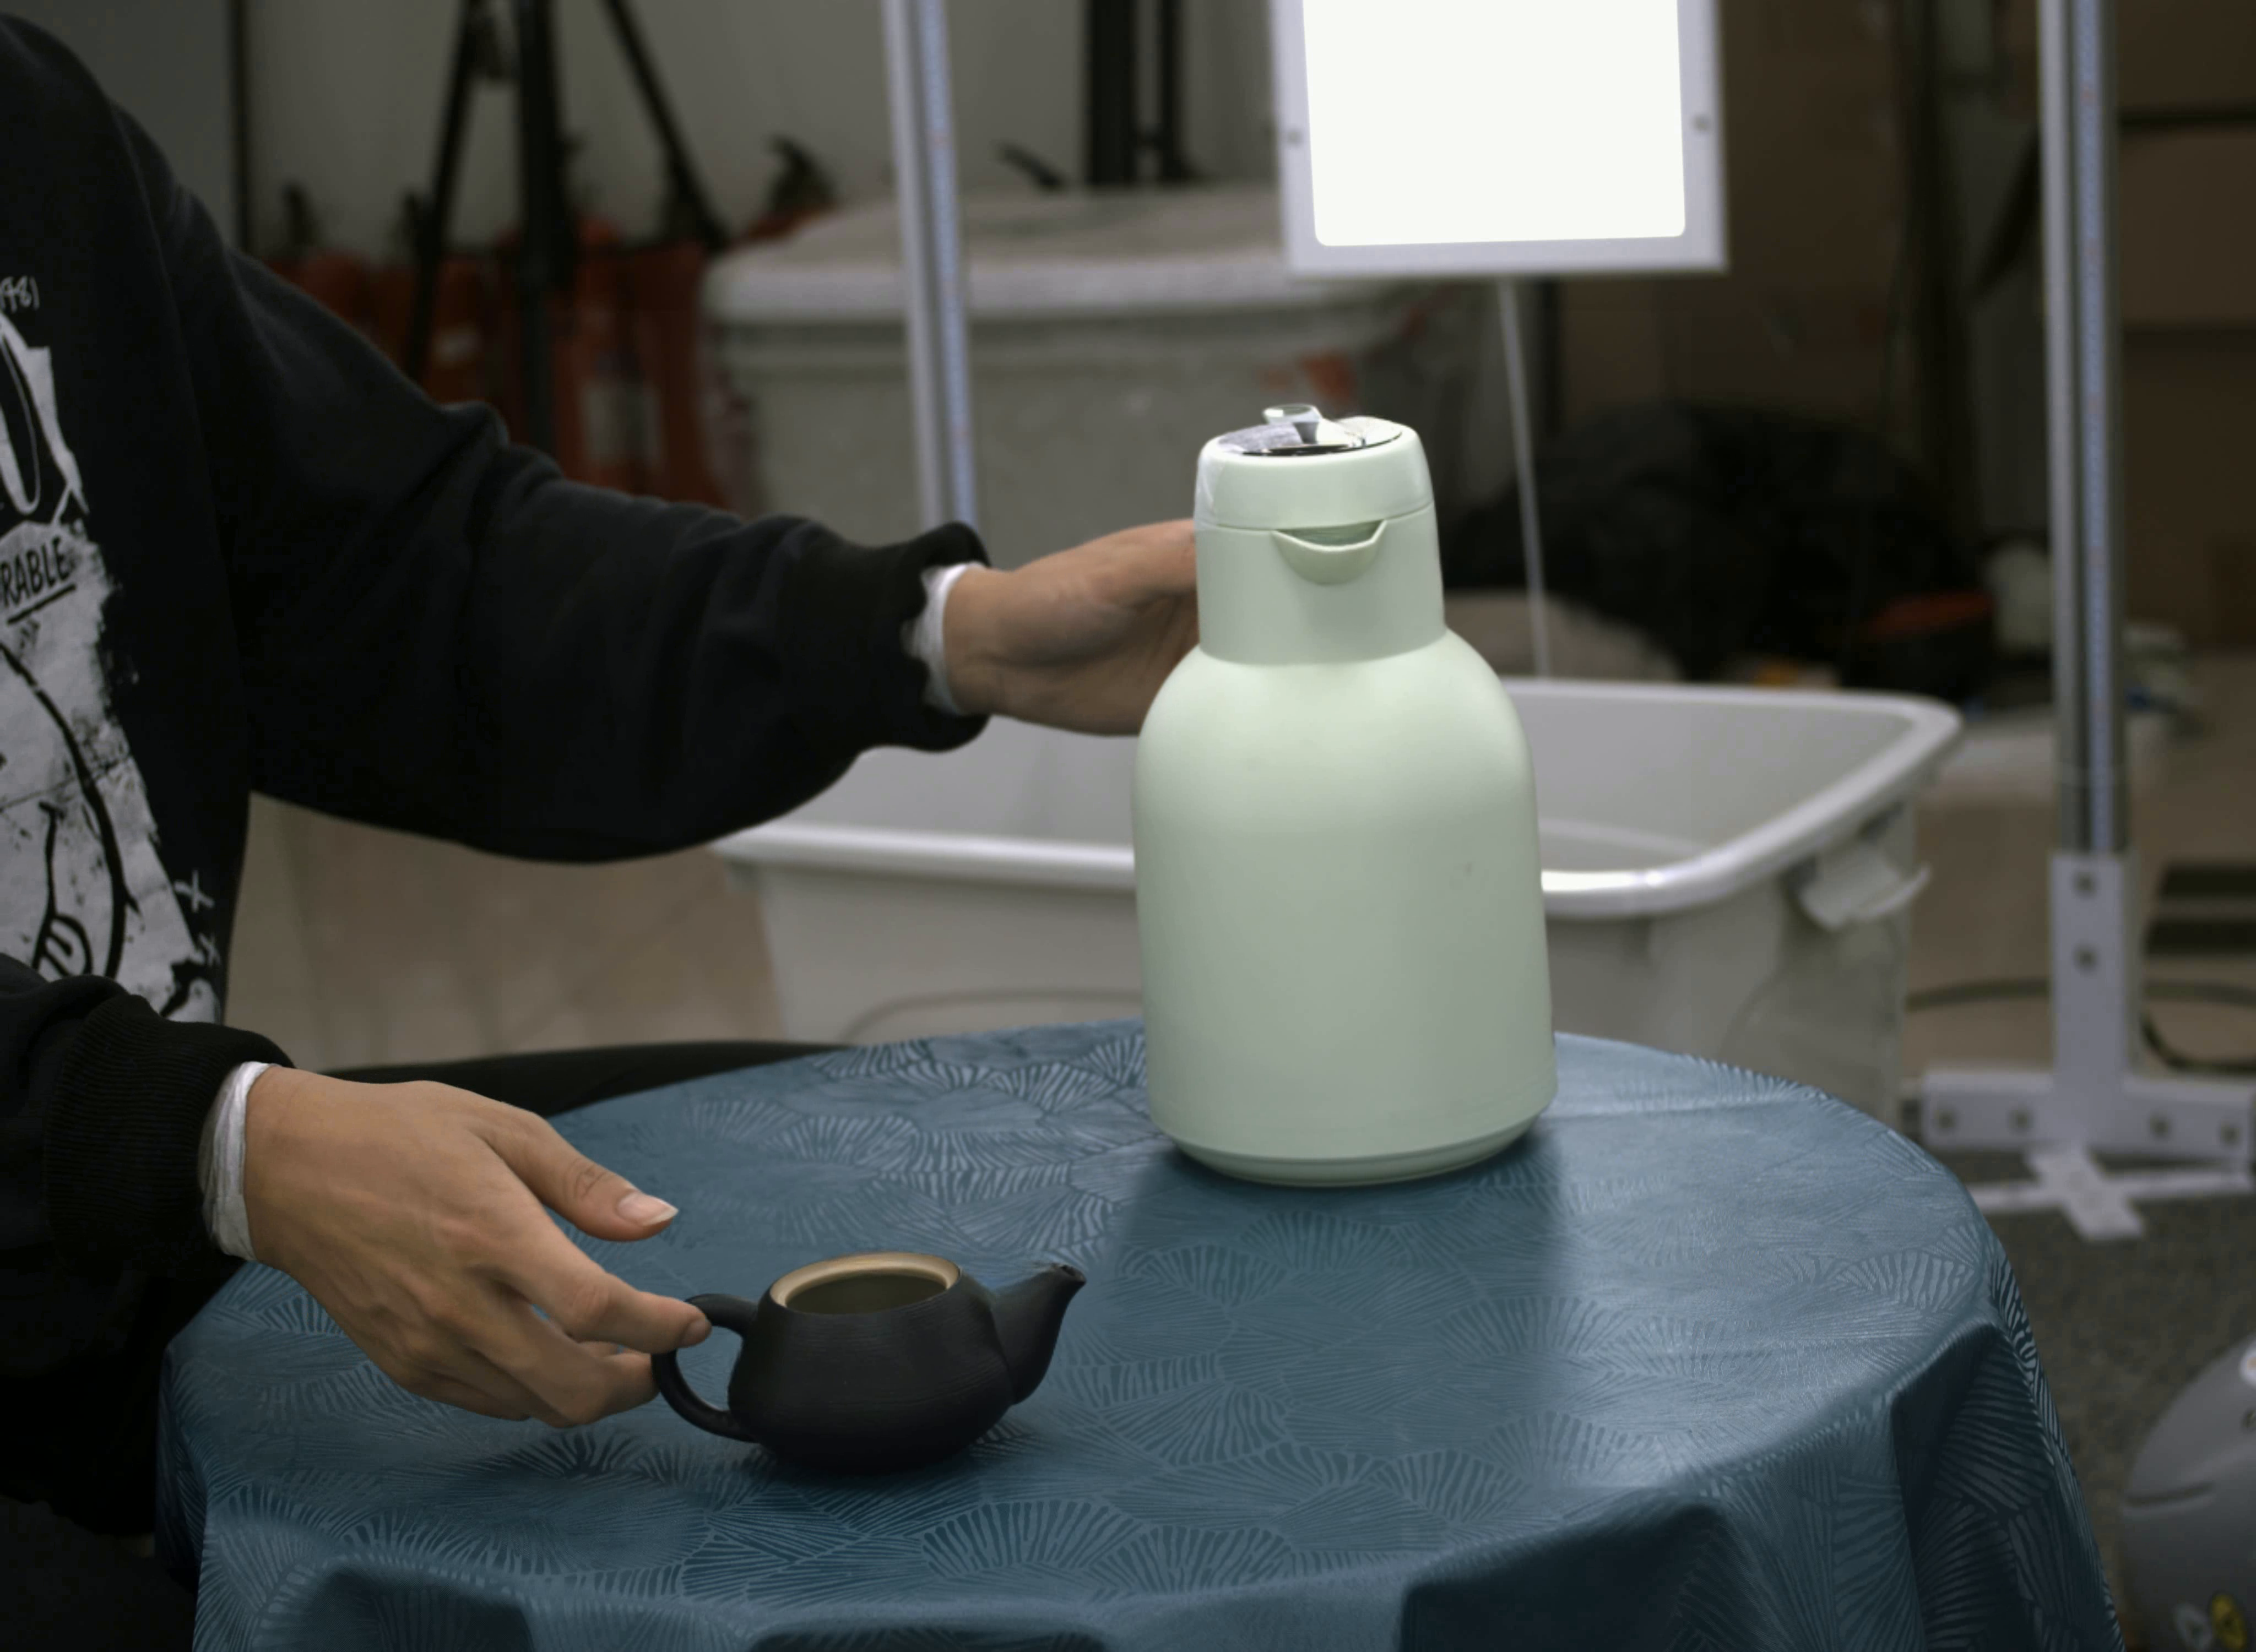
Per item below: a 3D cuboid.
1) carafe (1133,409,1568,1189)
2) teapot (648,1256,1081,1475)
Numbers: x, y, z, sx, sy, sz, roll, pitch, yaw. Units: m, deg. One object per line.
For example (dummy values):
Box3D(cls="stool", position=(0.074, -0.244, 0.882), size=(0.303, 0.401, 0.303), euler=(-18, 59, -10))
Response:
Box3D(cls="carafe", position=(0.070, -0.015, 1.922), size=(0.143, 0.257, 0.187), euler=(-7, 11, -4))
Box3D(cls="teapot", position=(-0.078, 0.163, 1.668), size=(0.133, 0.053, 0.091), euler=(-5, 12, 1))
